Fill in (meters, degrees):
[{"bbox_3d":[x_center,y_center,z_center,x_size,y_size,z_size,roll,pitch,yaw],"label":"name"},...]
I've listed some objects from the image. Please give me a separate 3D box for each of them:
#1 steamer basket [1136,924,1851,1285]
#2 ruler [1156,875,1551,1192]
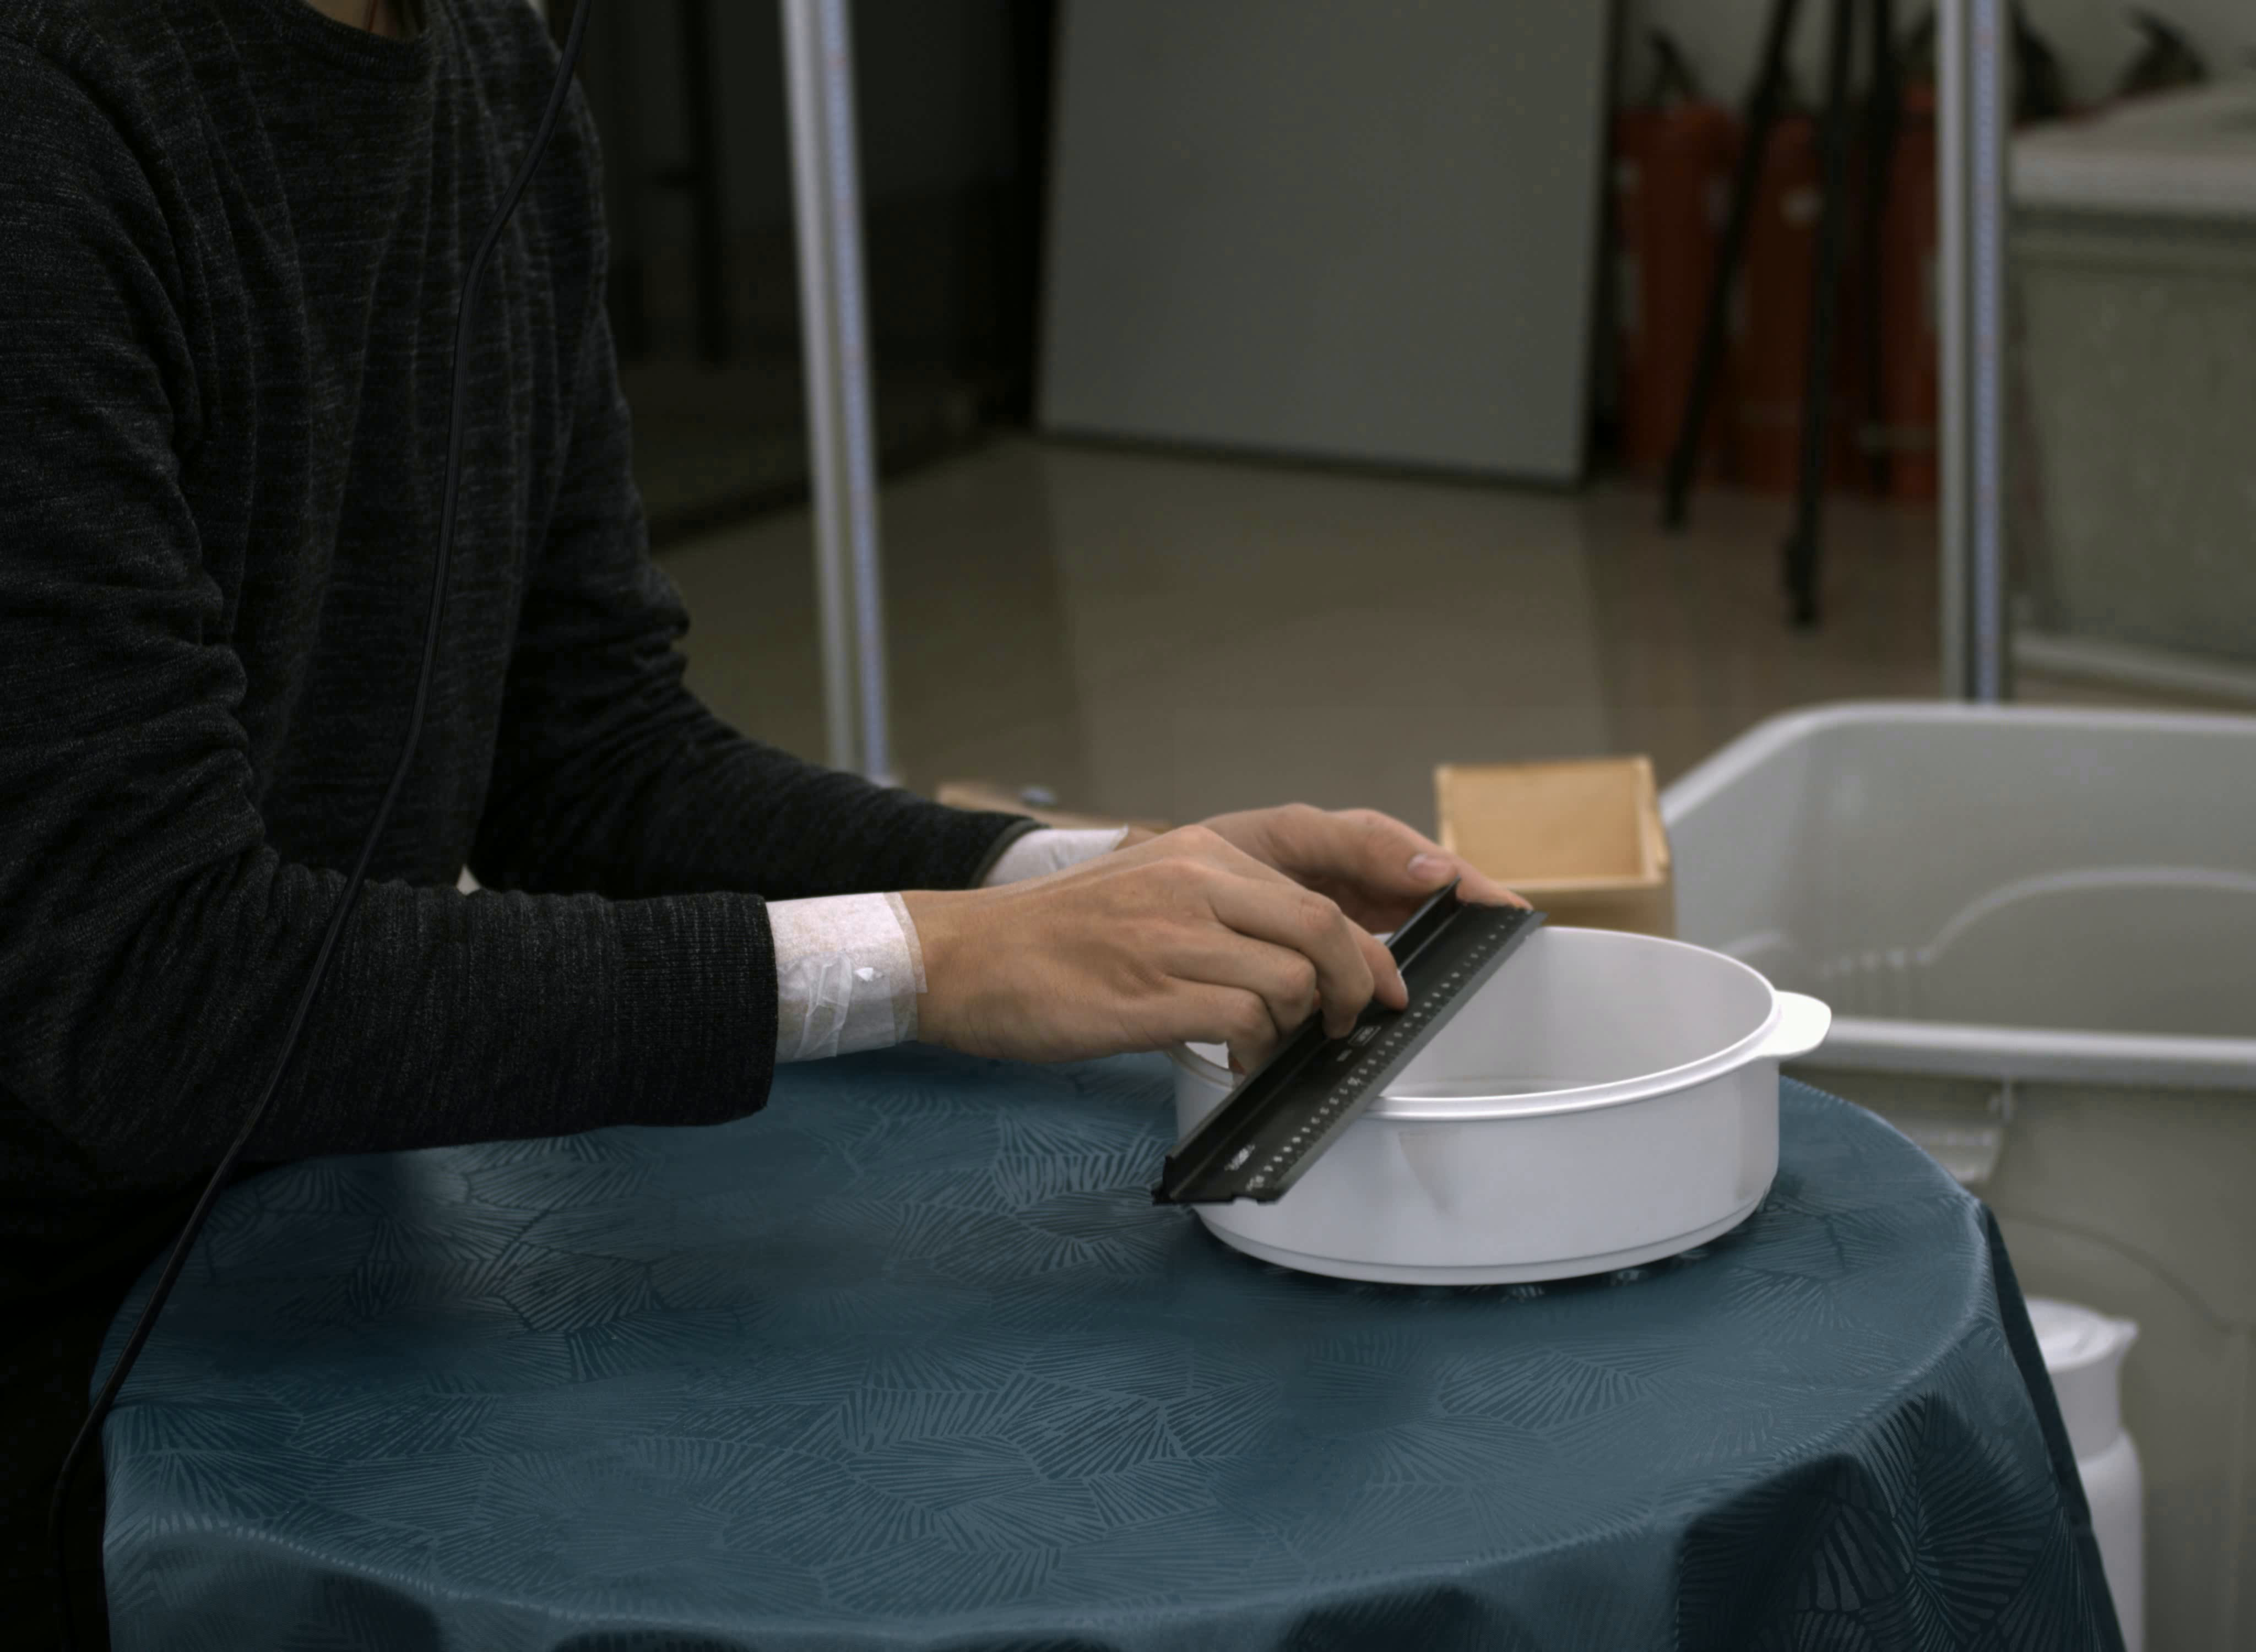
[{"bbox_3d":[0.116,0.088,1.722,0.229,0.070,0.200,2,14,13],"label":"steamer basket"},{"bbox_3d":[0.074,0.060,1.672,0.039,0.017,0.309,-1,14,20],"label":"ruler"}]
